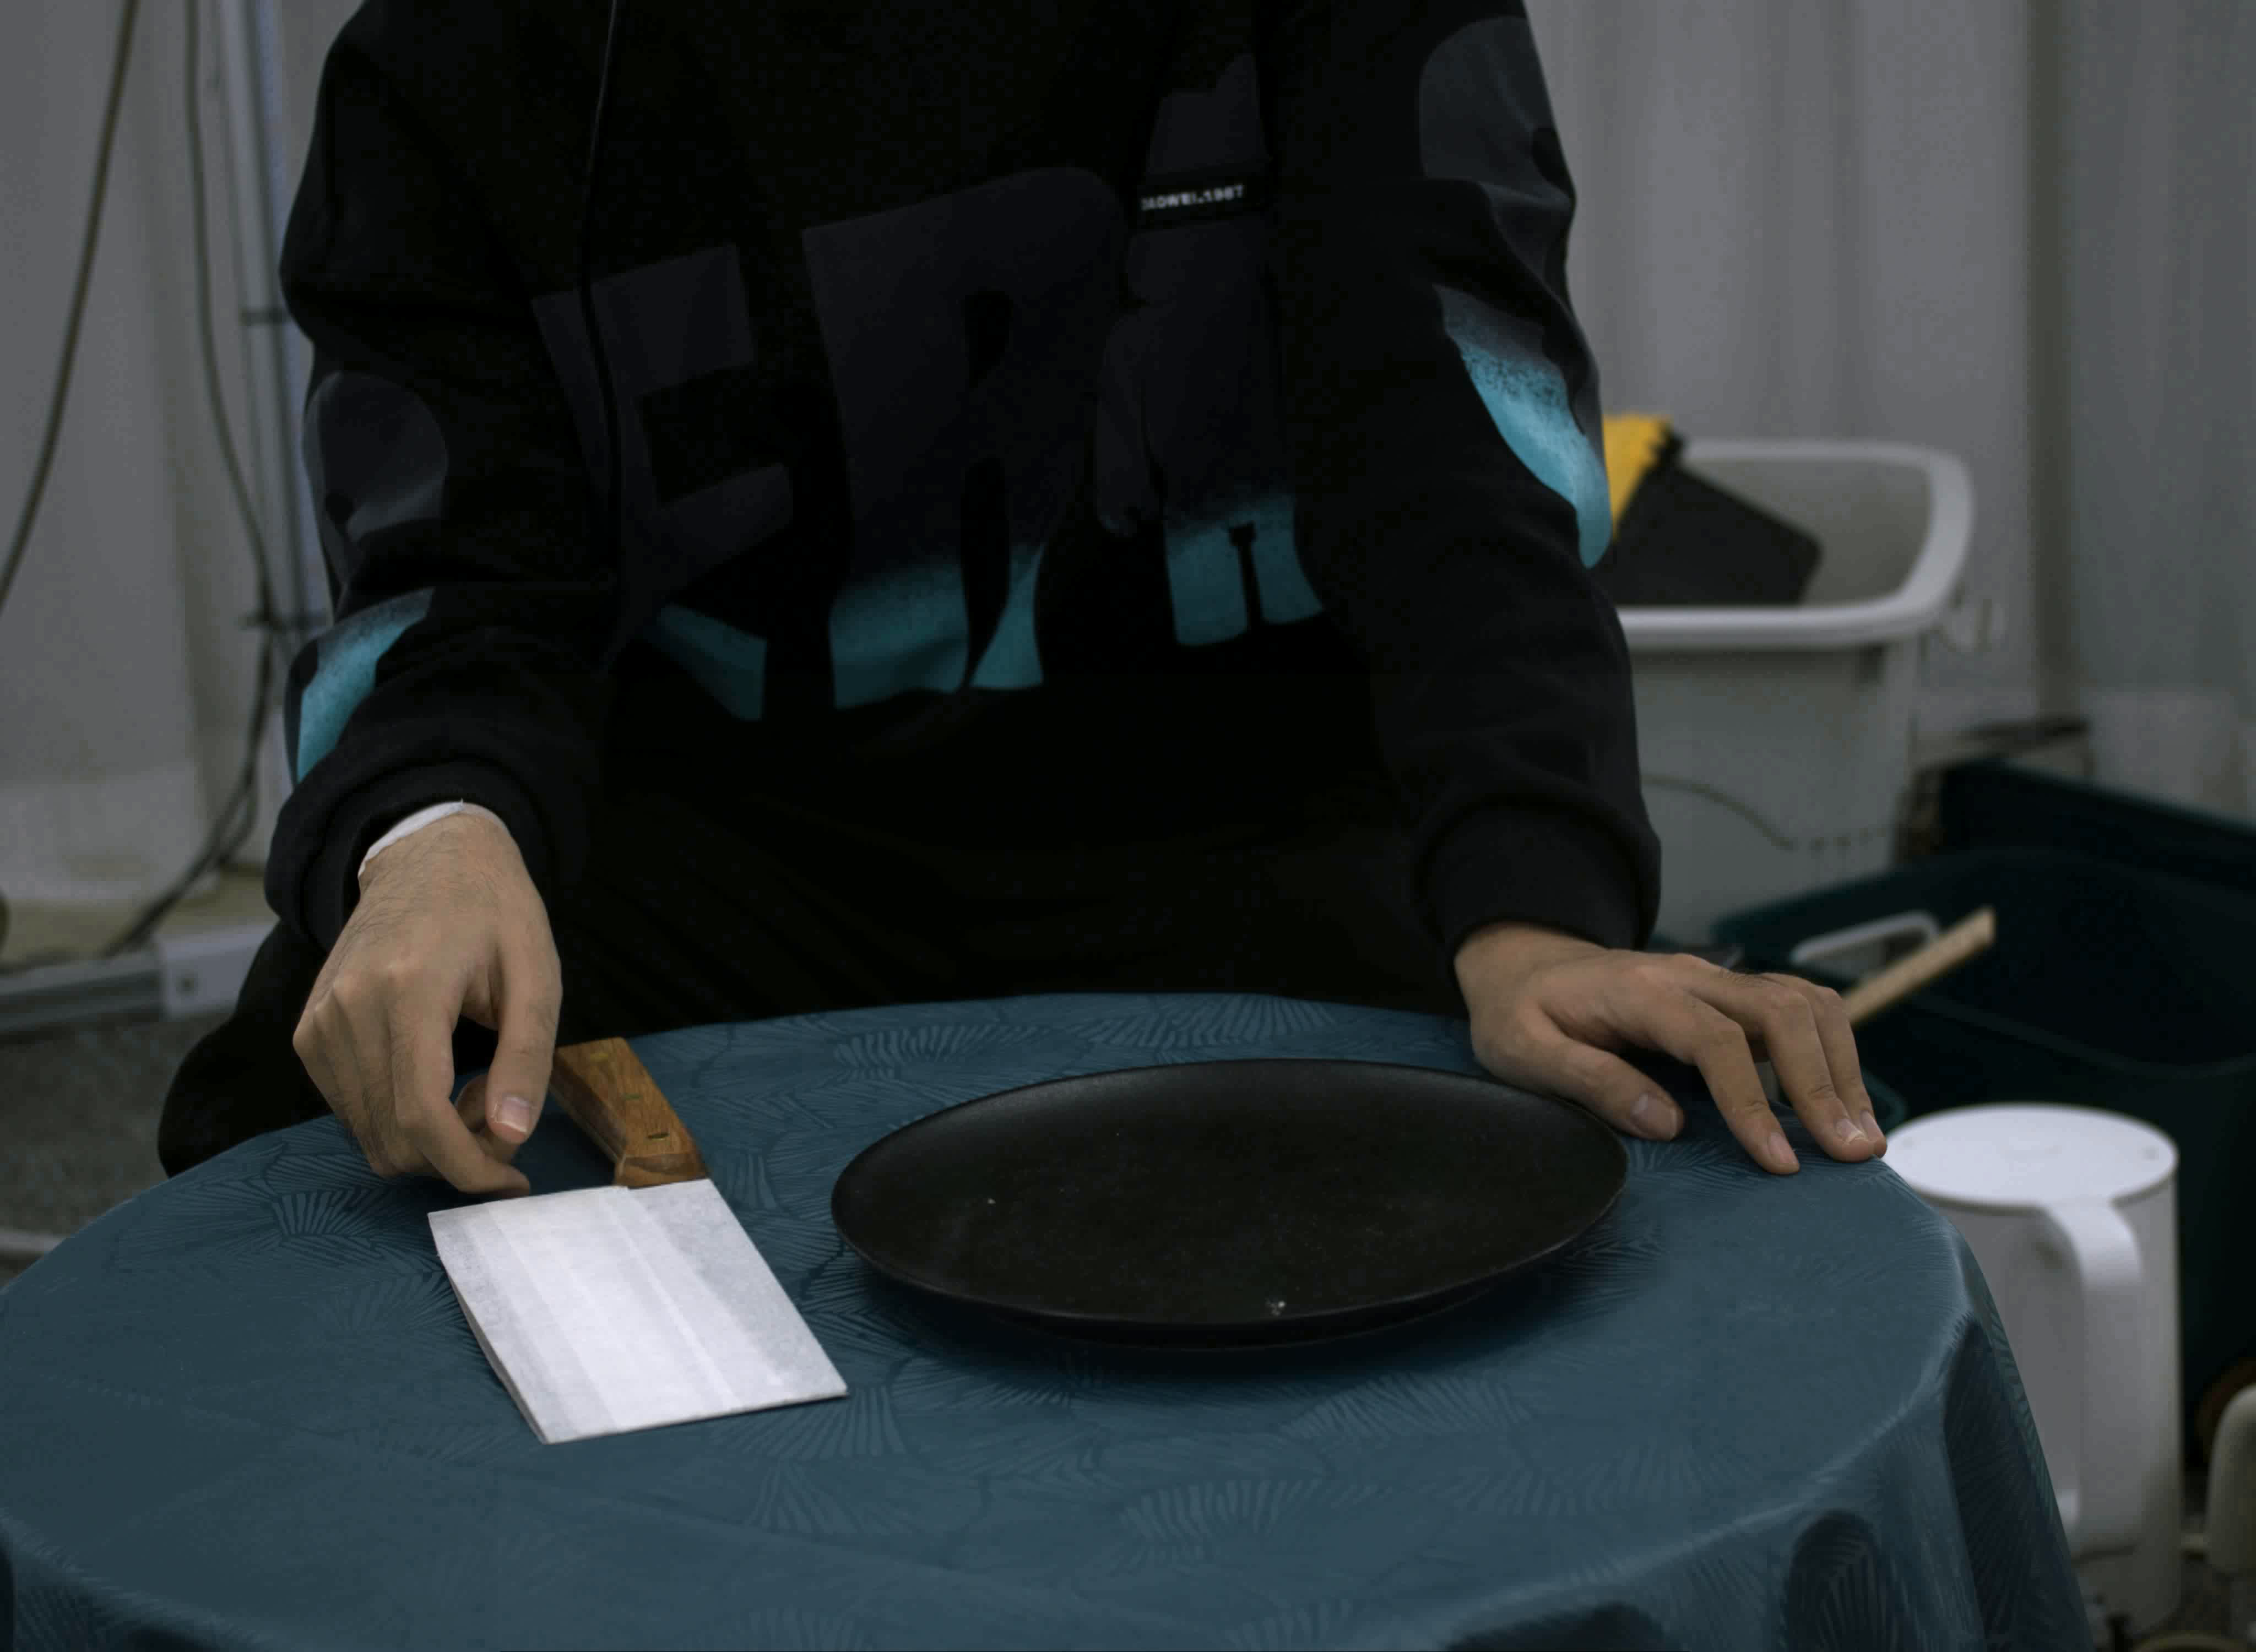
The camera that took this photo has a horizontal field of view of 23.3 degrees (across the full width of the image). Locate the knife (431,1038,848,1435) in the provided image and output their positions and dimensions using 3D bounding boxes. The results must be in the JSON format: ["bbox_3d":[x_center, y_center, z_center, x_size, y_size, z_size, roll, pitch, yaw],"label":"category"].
[{"bbox_3d":[-0.163,0.125,1.680,0.092,0.021,0.308,-9,18,-15],"label":"knife"}]

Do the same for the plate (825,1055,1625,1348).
[{"bbox_3d":[0.029,0.116,1.657,0.243,0.023,0.246,-3,15,0],"label":"plate"}]
